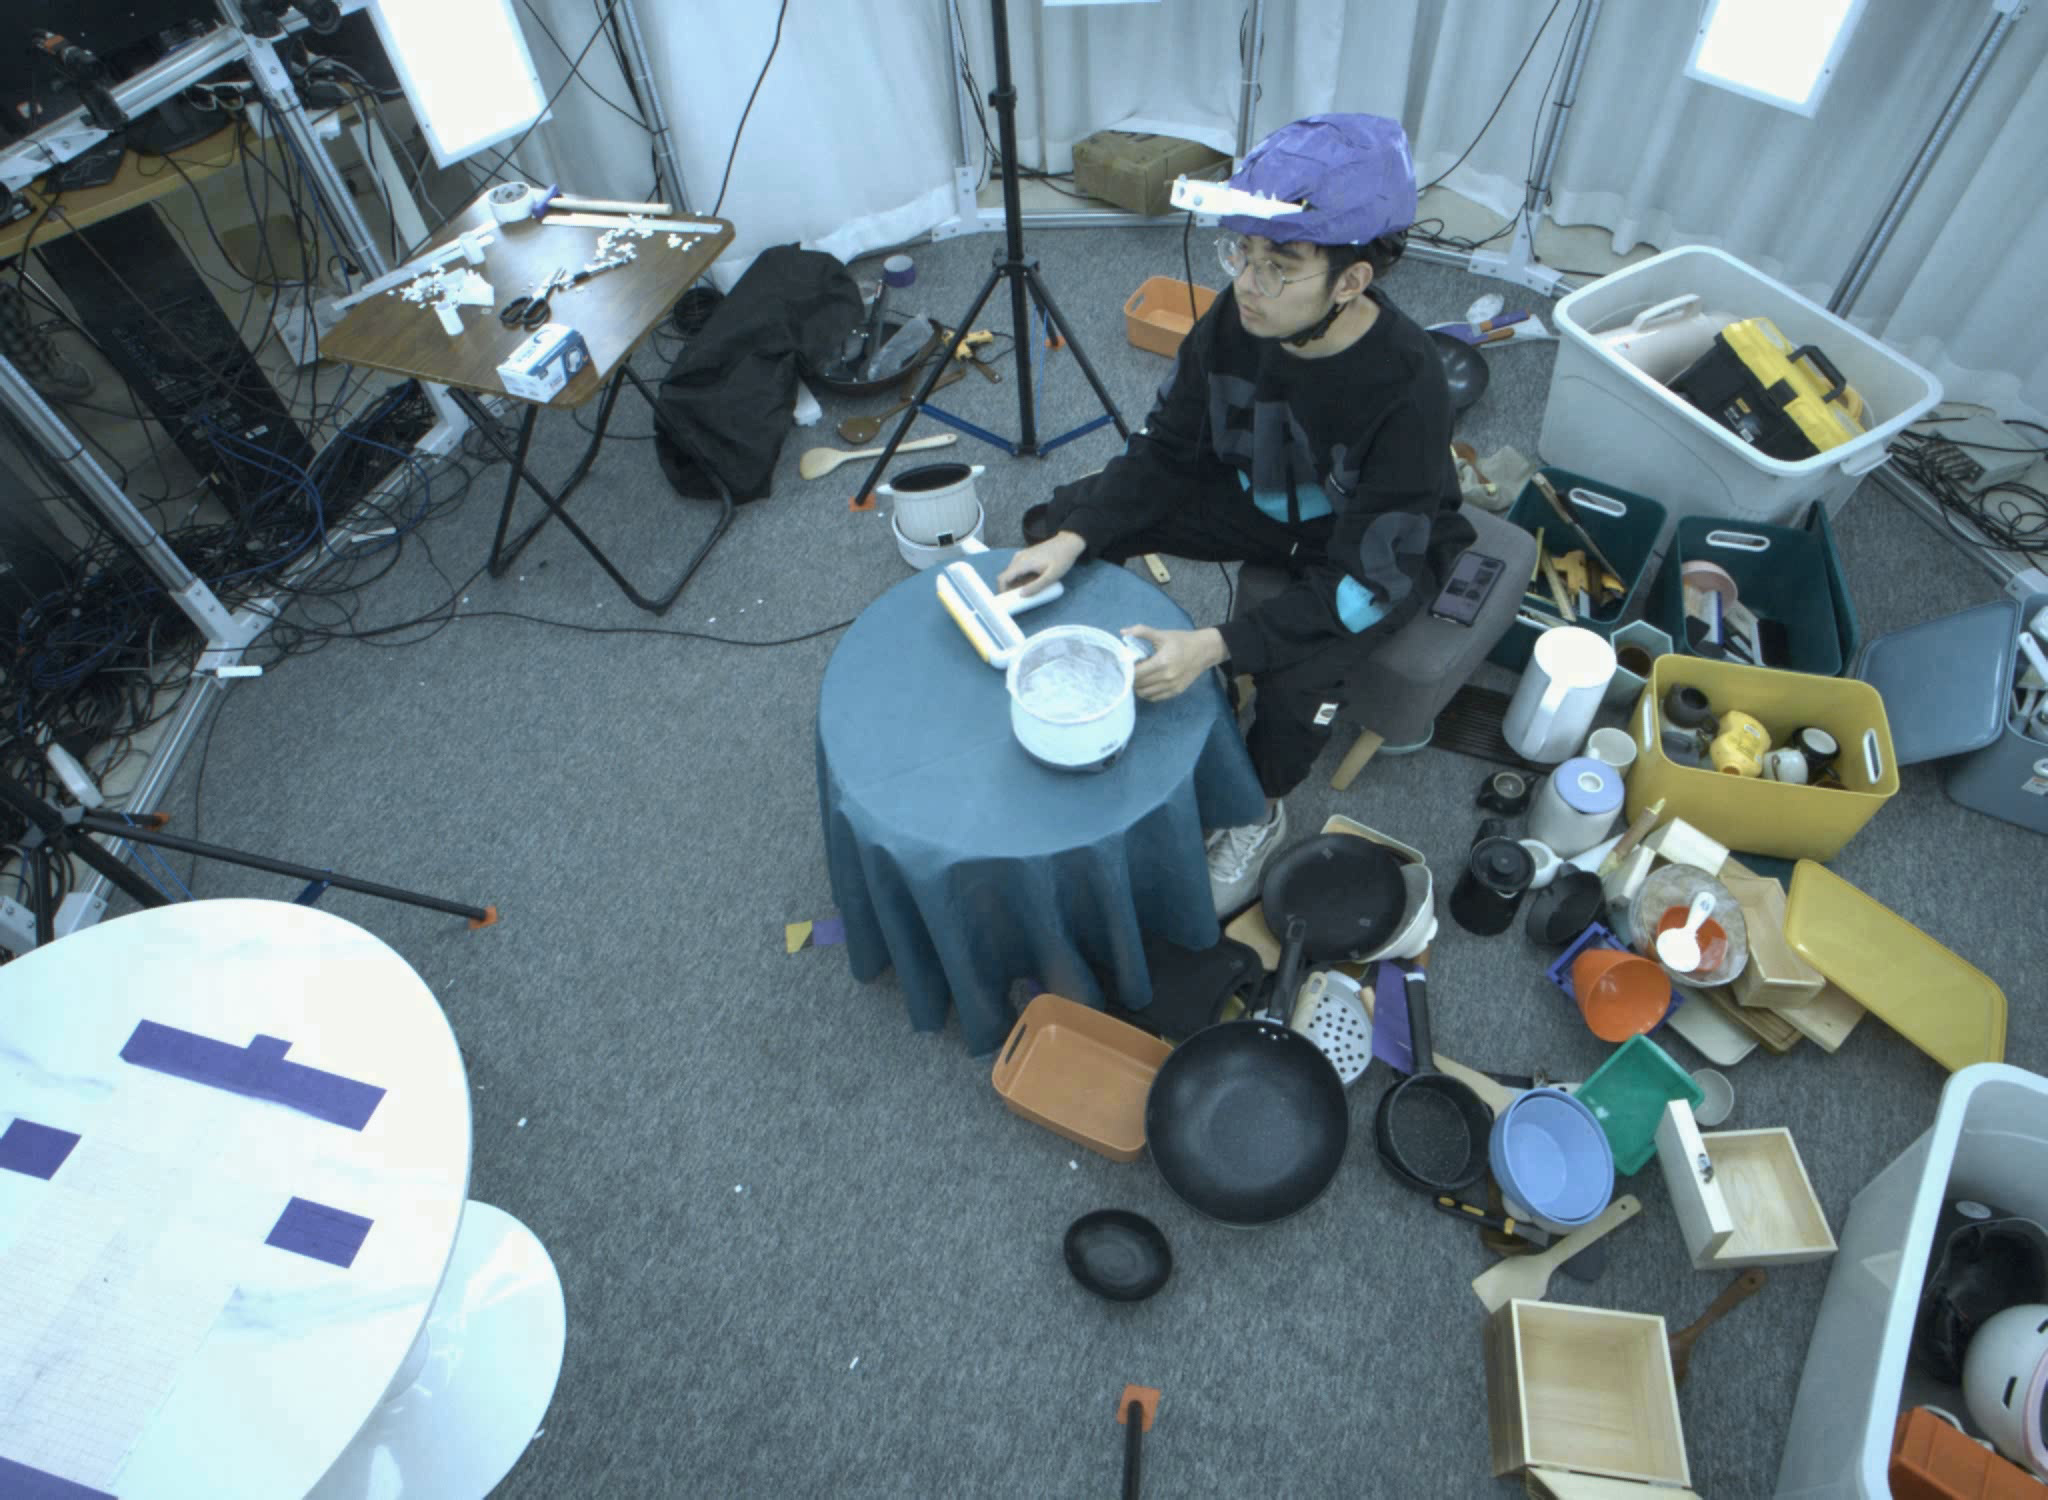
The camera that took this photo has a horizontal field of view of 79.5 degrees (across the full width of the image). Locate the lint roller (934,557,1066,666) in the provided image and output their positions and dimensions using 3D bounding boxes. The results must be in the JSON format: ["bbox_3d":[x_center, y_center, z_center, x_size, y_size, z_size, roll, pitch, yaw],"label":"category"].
[{"bbox_3d":[-0.020,-0.232,1.907,0.194,0.074,0.190,-26,65,-18],"label":"lint roller"}]

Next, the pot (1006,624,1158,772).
[{"bbox_3d":[0.090,-0.084,1.752,0.235,0.138,0.175,-32,61,-17],"label":"pot"}]
